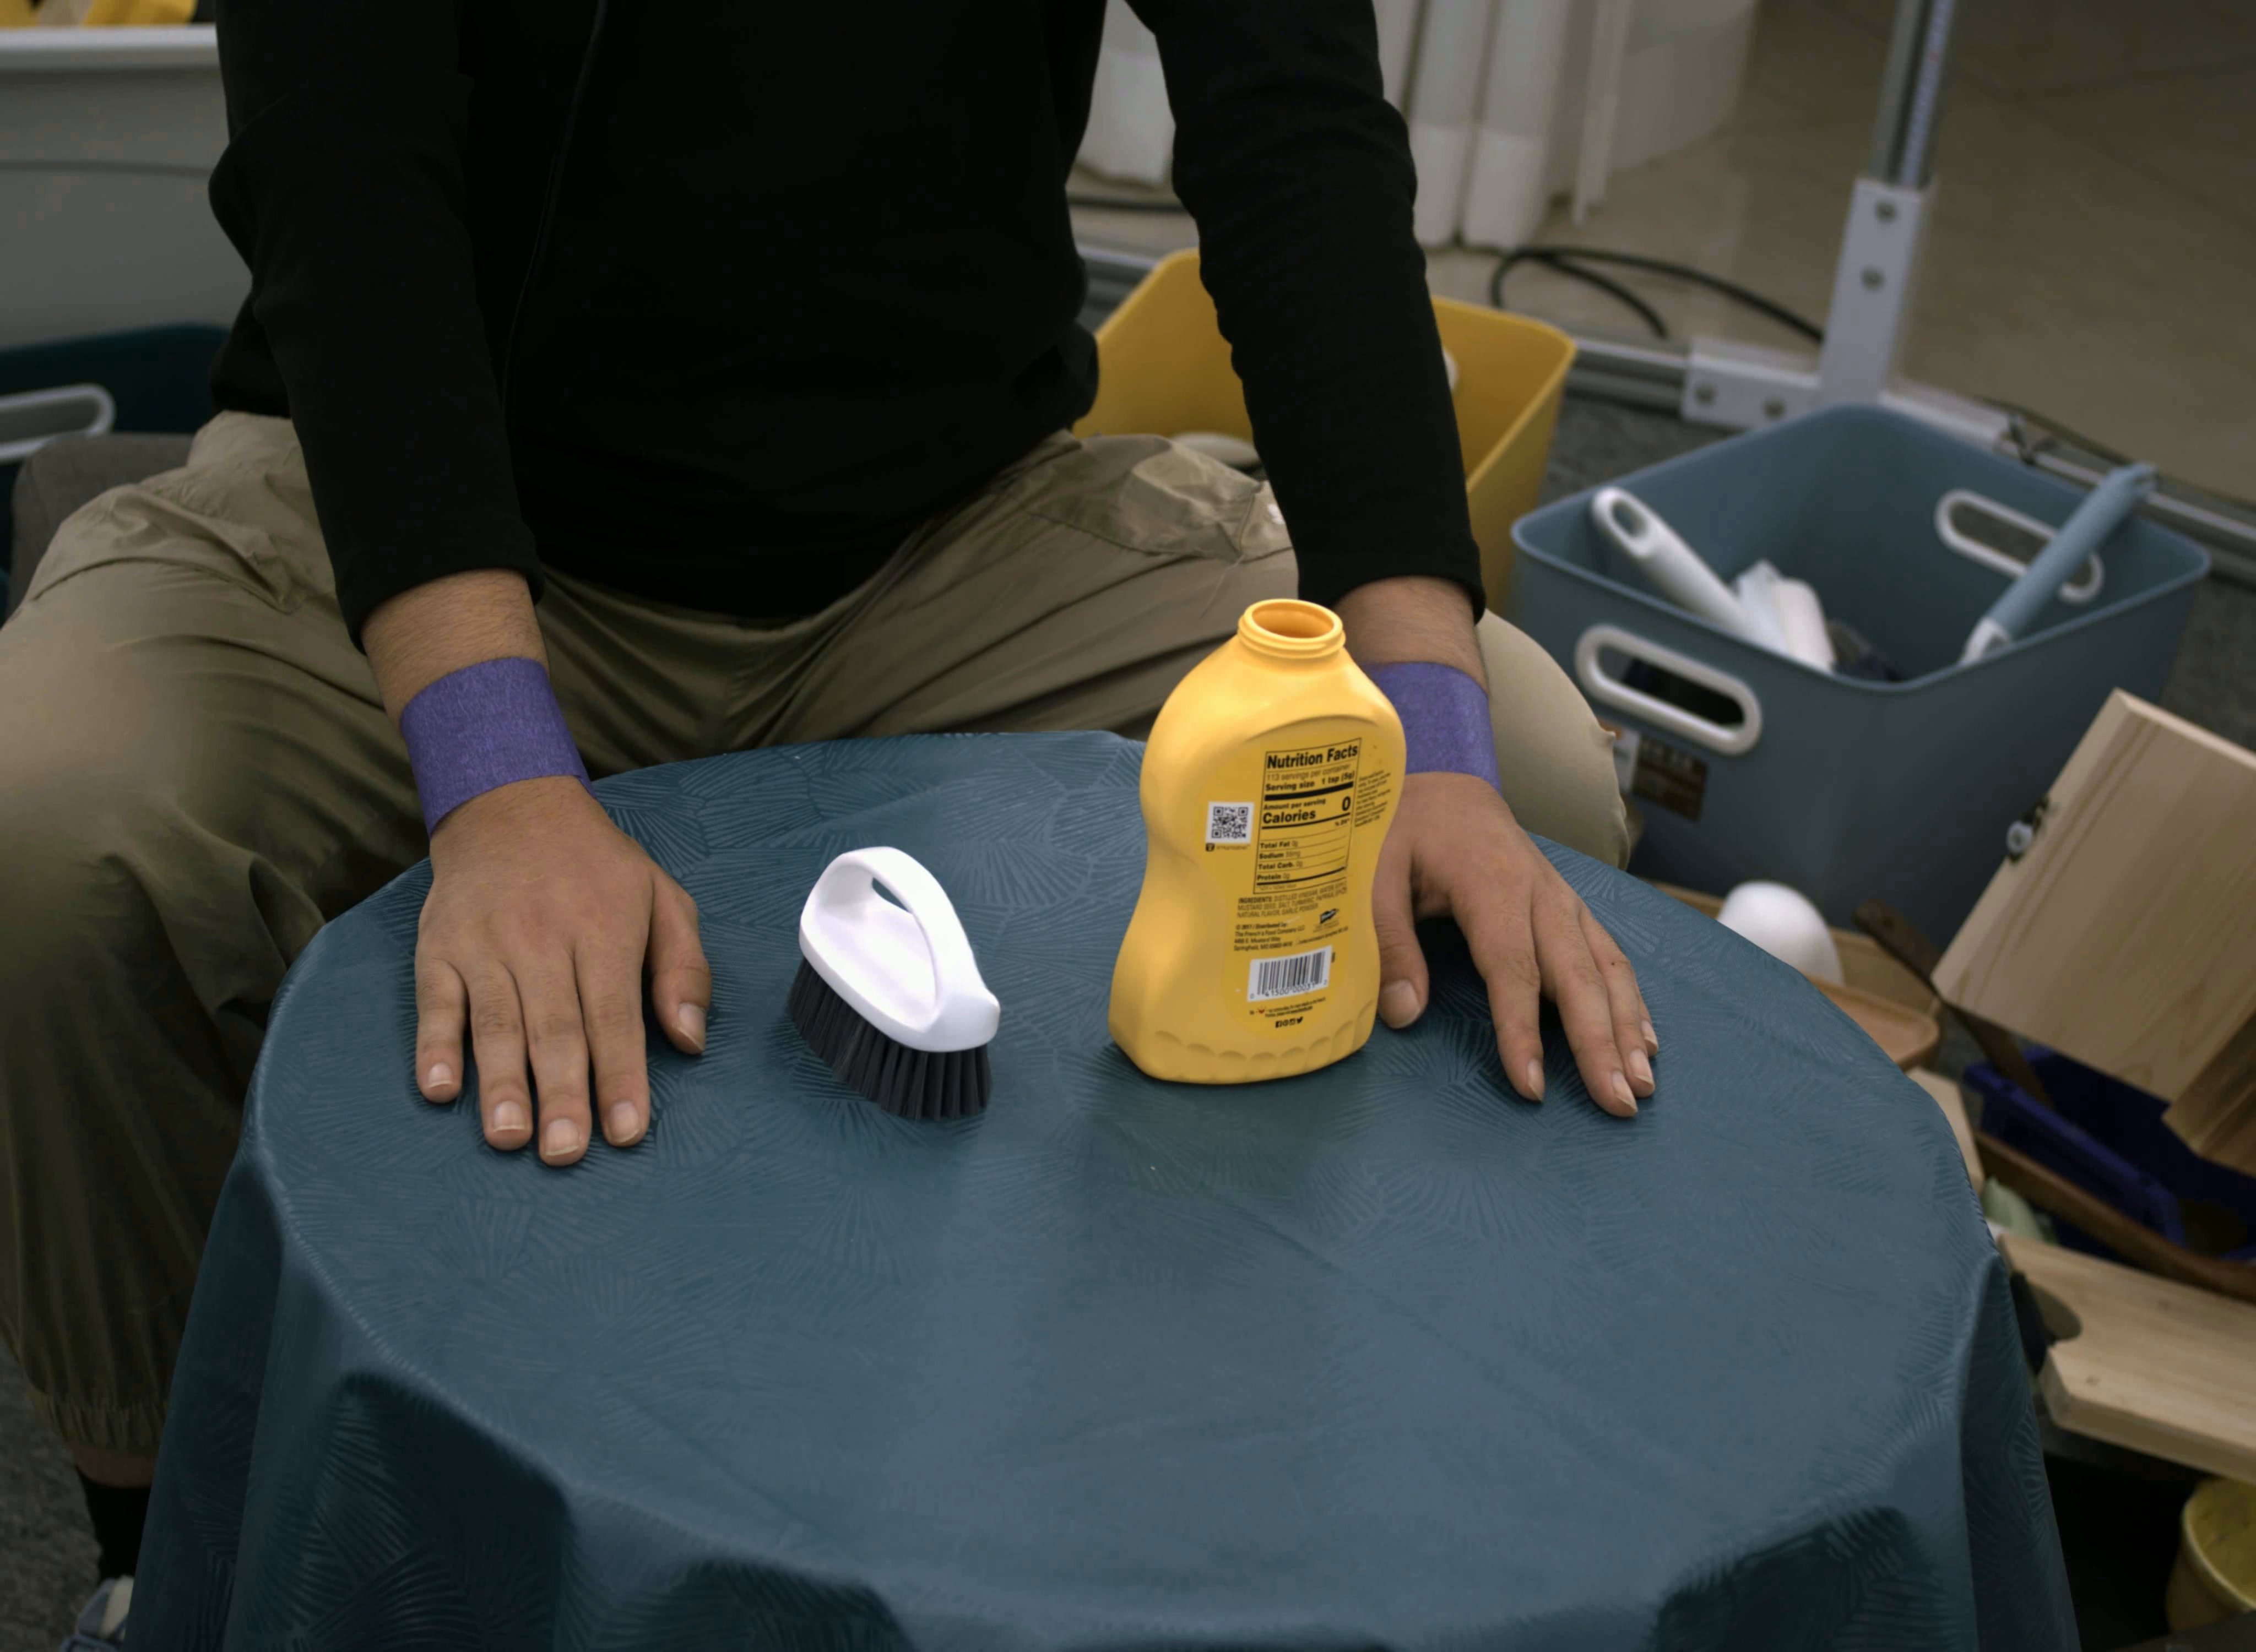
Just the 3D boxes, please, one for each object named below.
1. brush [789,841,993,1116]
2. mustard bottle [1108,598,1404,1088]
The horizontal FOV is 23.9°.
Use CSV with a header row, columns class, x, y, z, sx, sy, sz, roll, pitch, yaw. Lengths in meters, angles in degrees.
class,x,y,z,sx,sy,sz,roll,pitch,yaw
brush,-0.081,0.046,1.852,0.050,0.072,0.100,-7,31,-29
mustard bottle,0.046,0.005,1.859,0.097,0.171,0.060,-9,28,-25
